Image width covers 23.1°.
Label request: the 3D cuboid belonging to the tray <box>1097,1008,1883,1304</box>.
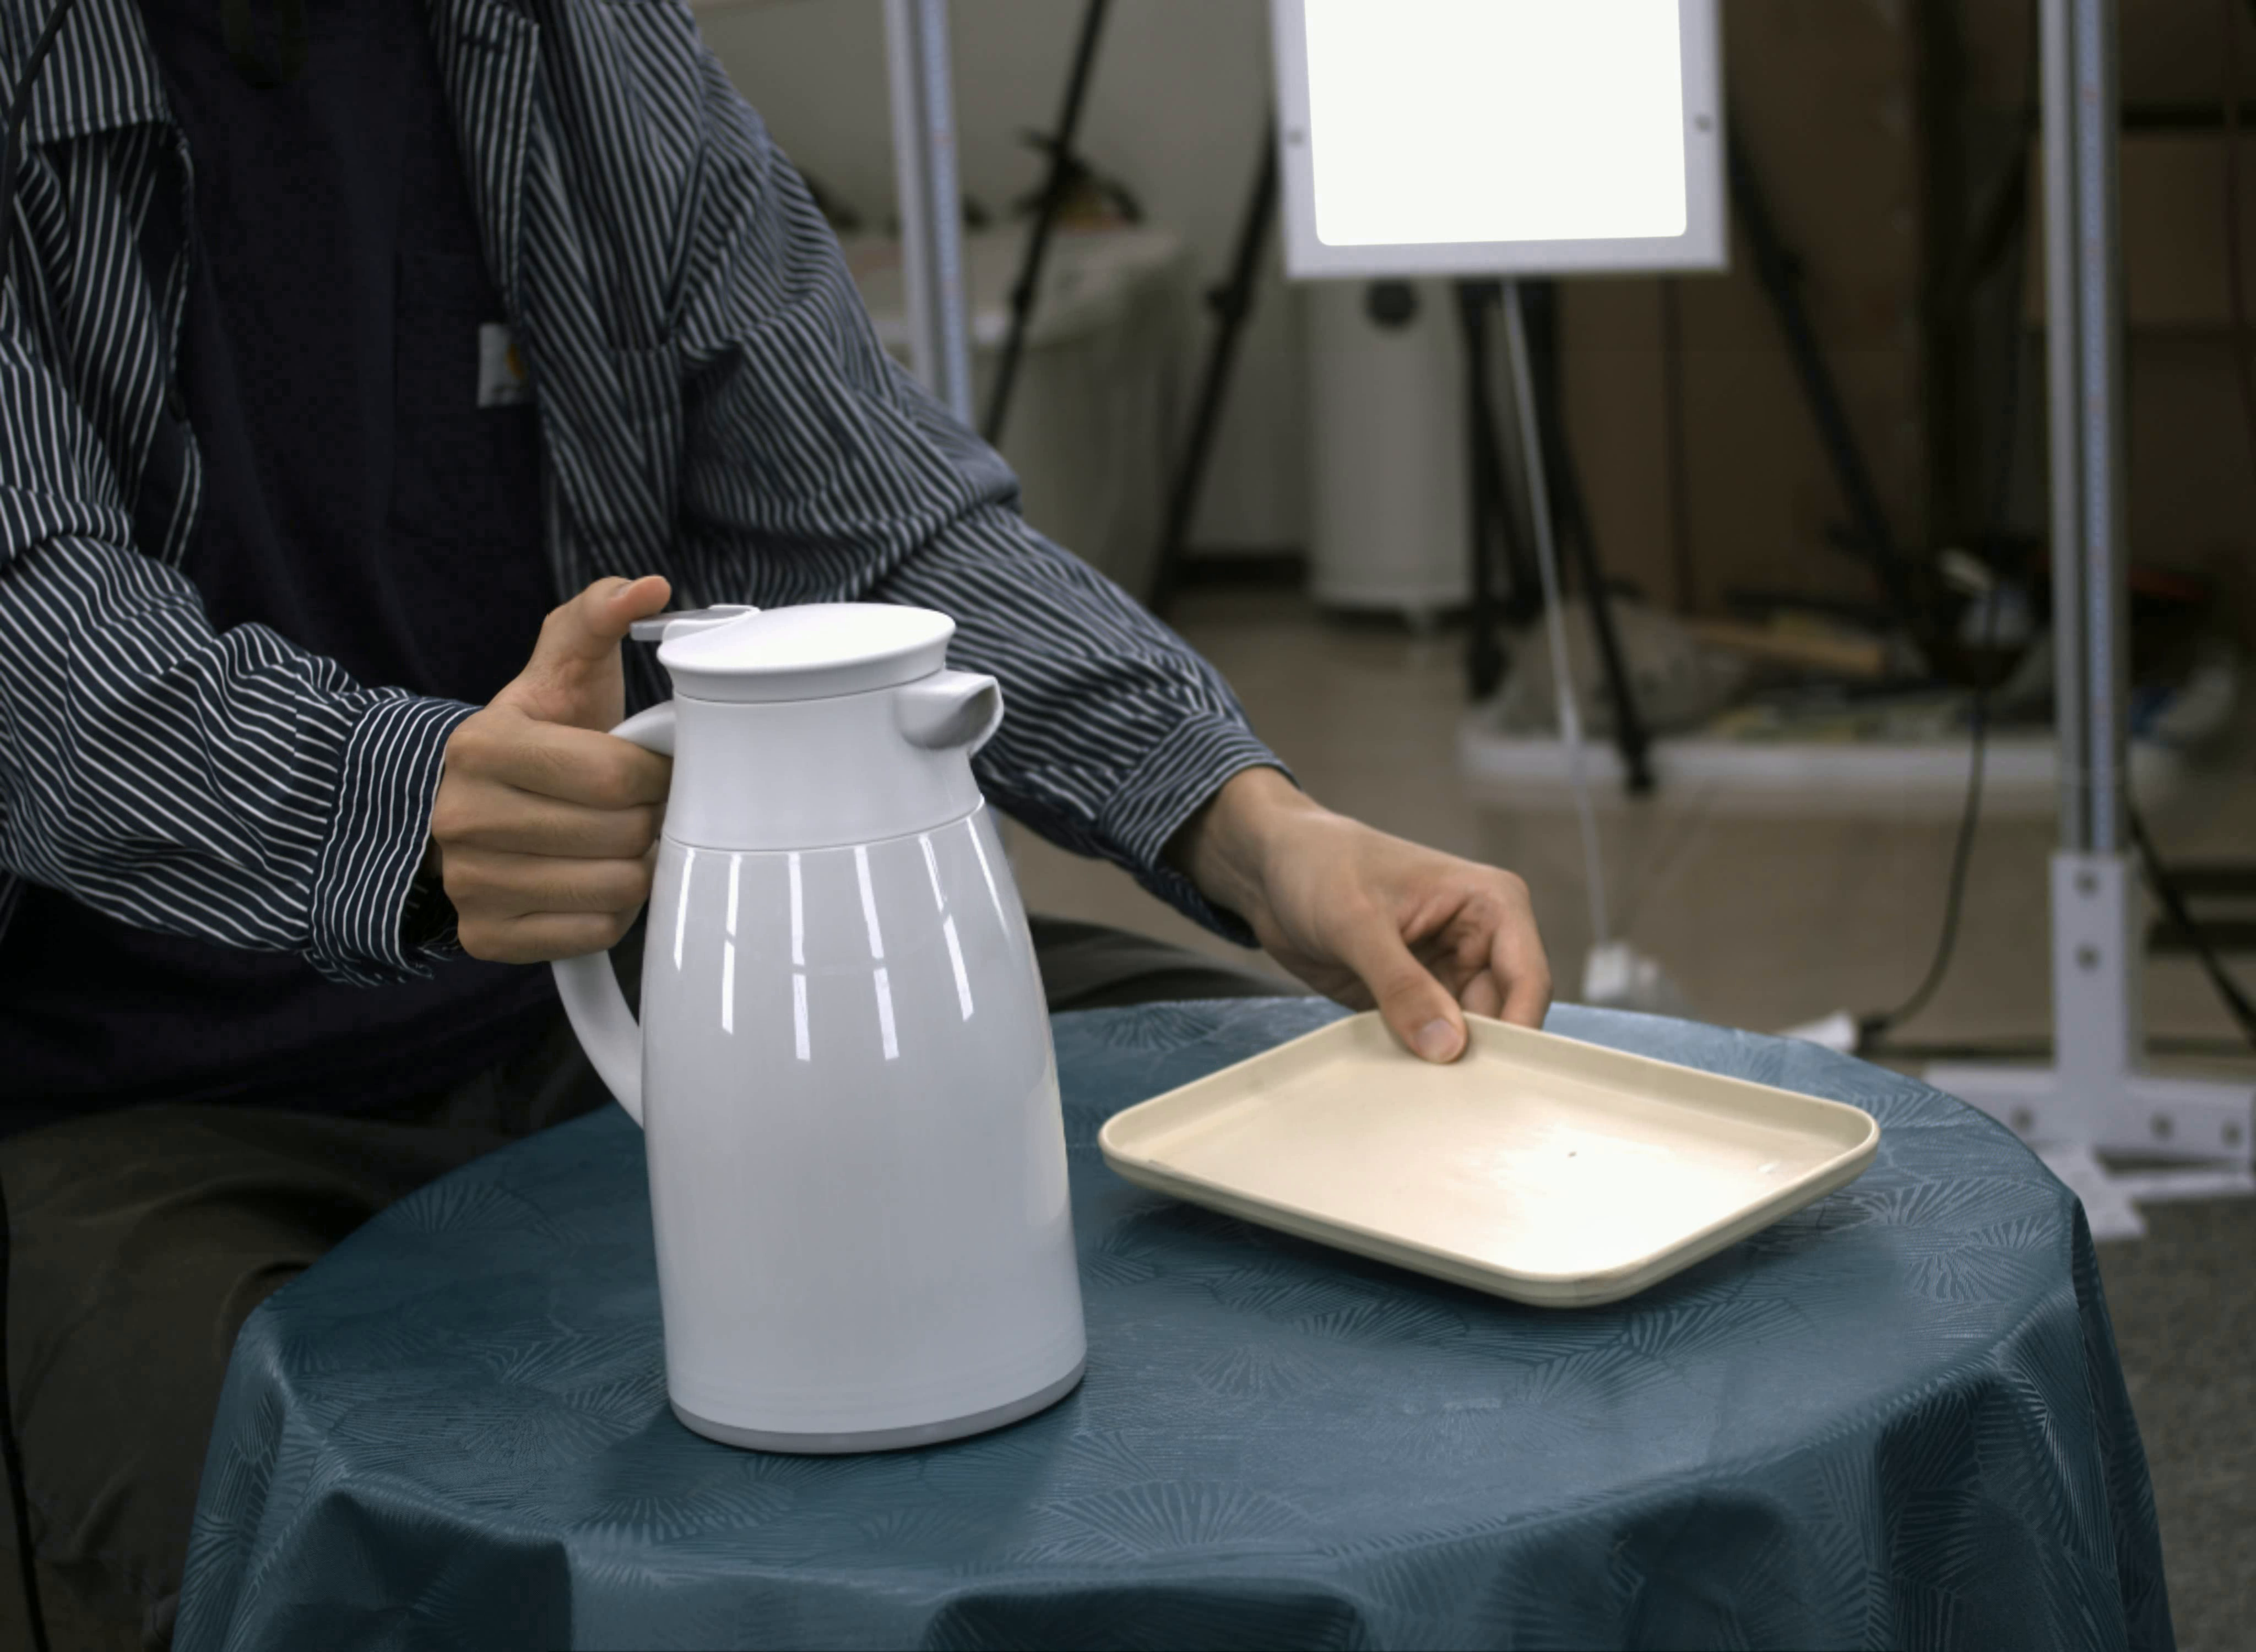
[{"bbox_3d":[0.120,0.109,1.837,0.167,0.017,0.245,-20,22,-39],"label":"tray"}]

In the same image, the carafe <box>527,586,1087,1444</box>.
[{"bbox_3d":[-0.106,0.052,1.703,0.170,0.249,0.130,0,14,26],"label":"carafe"}]
